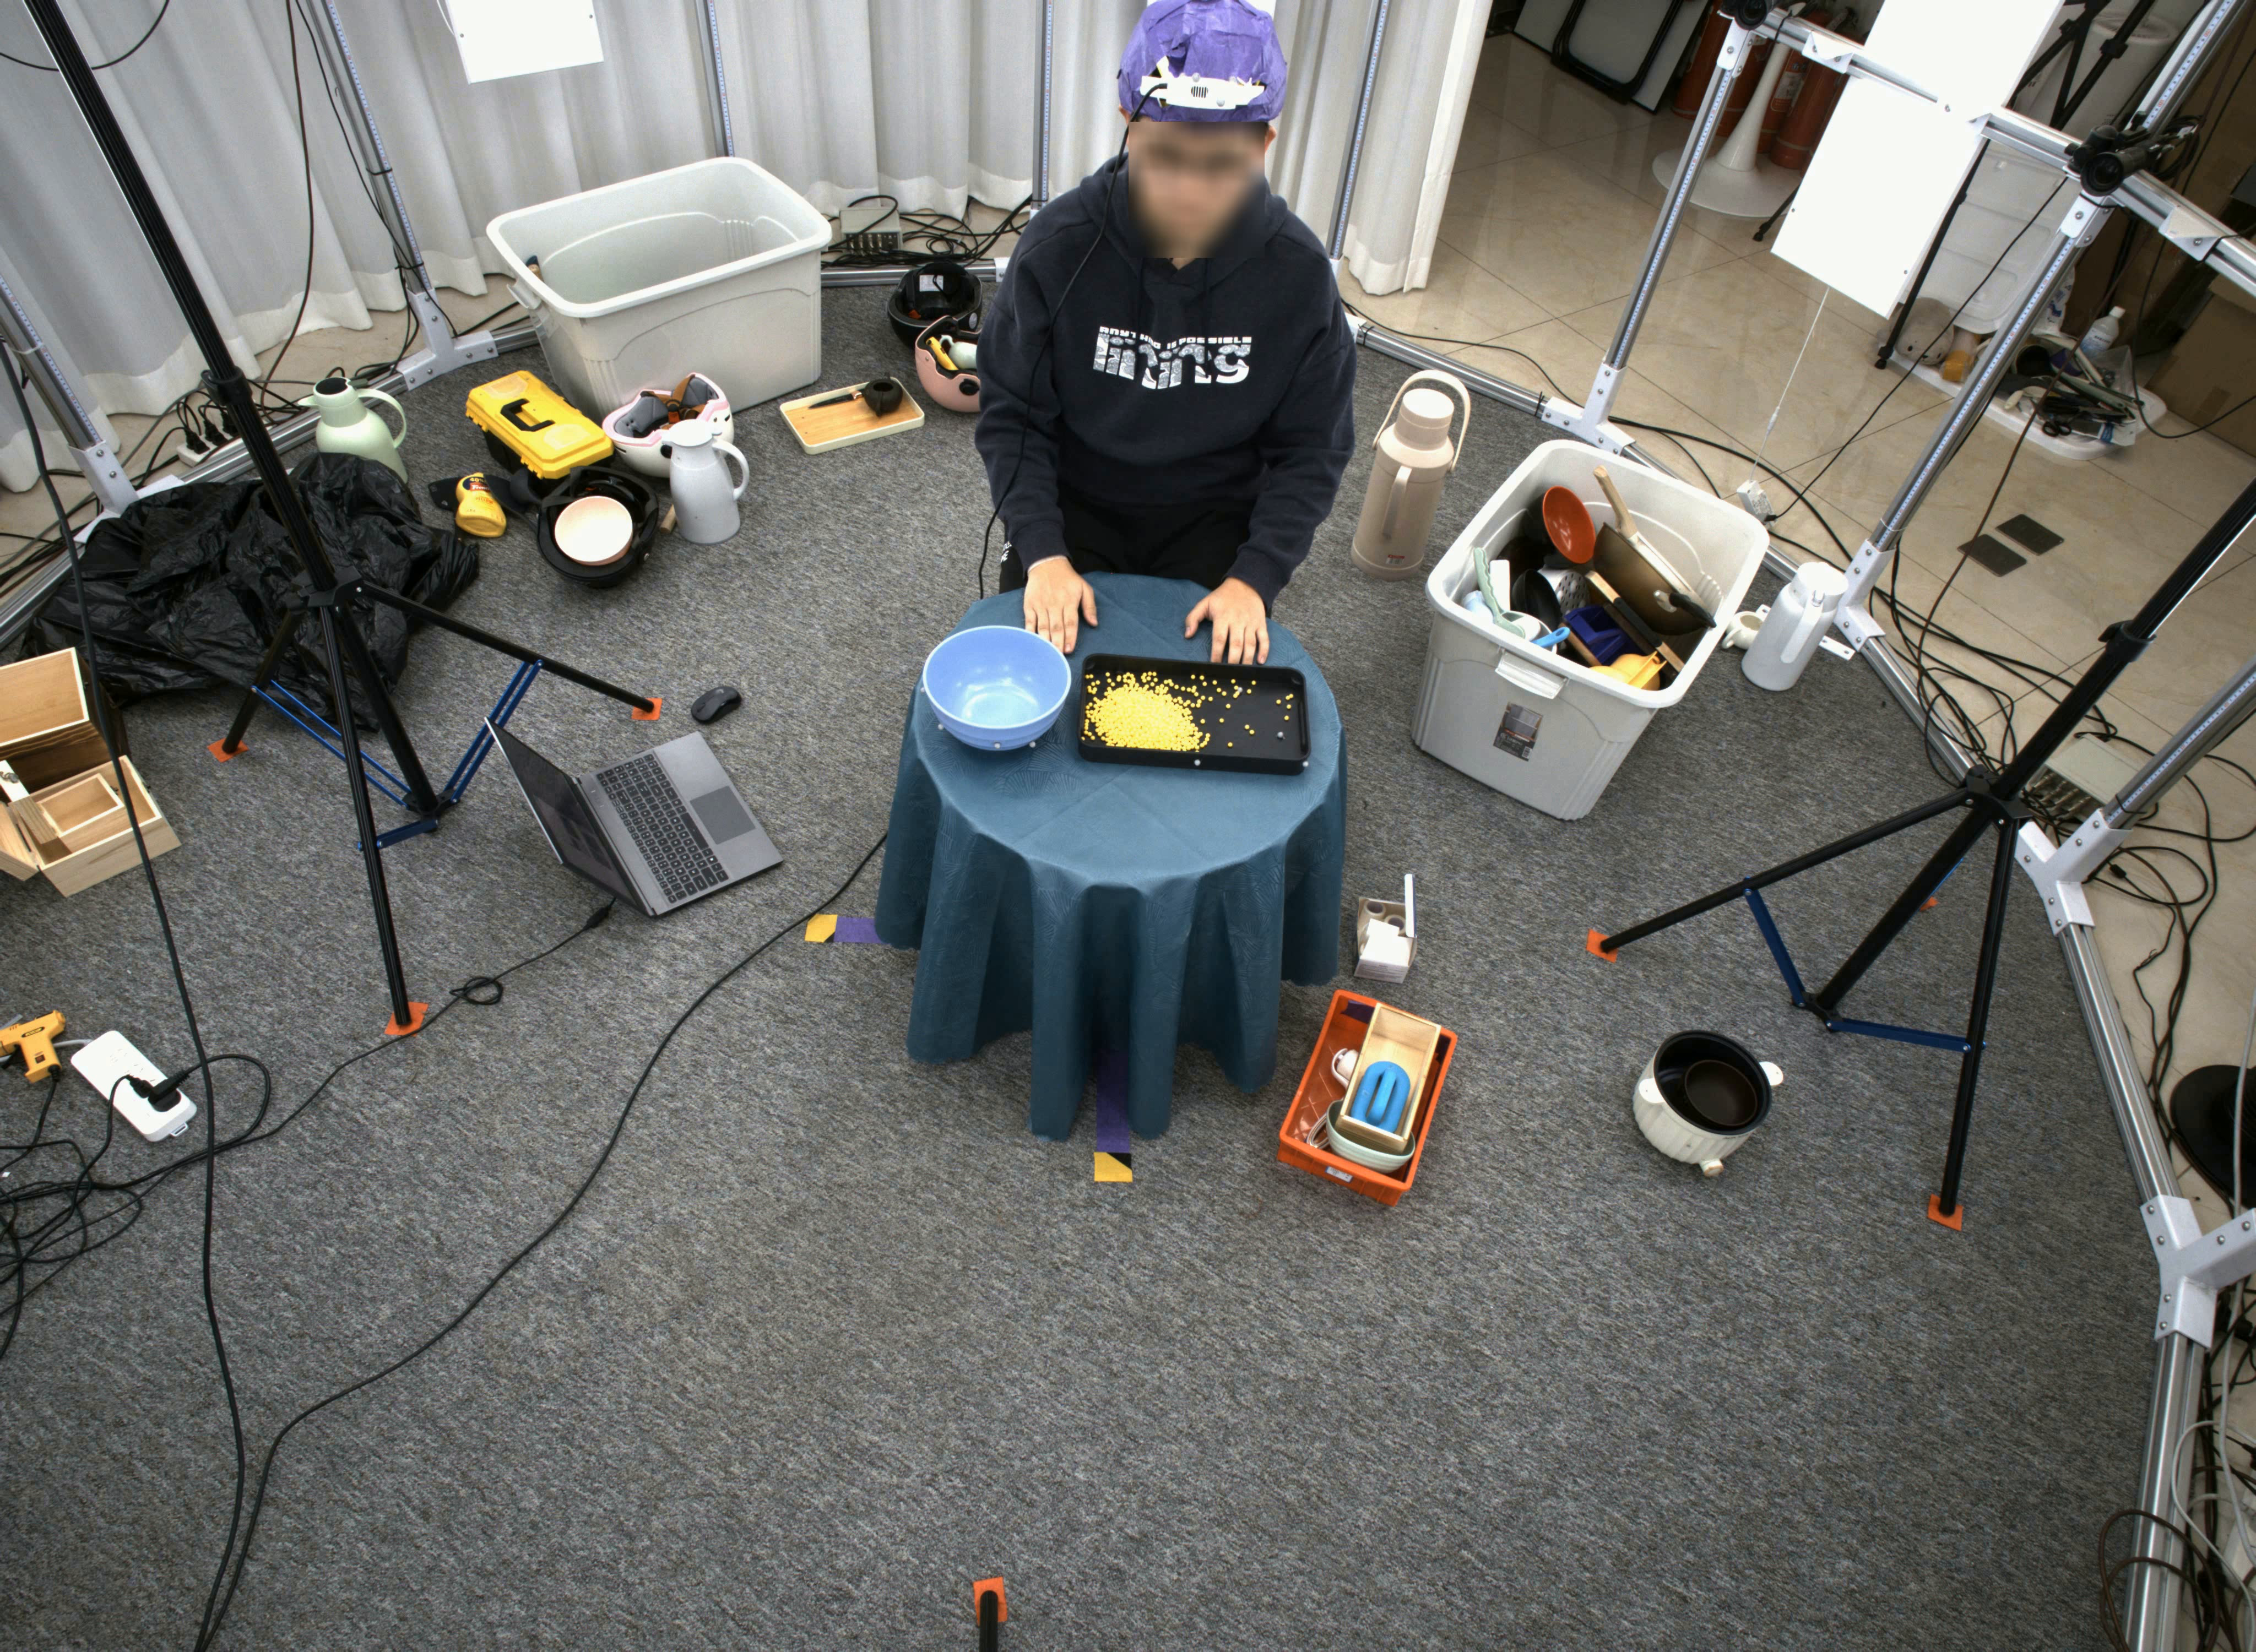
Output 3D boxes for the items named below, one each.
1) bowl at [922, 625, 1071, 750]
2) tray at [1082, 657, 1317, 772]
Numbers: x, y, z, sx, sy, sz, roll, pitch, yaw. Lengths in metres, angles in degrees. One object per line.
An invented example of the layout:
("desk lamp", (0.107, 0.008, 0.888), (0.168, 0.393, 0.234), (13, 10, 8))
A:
("bowl", (-0.176, -0.172, 1.739), (0.196, 0.093, 0.201), (1, 50, -2))
("tray", (0.096, -0.156, 1.787), (0.318, 0.036, 0.189), (2, 48, -1))
